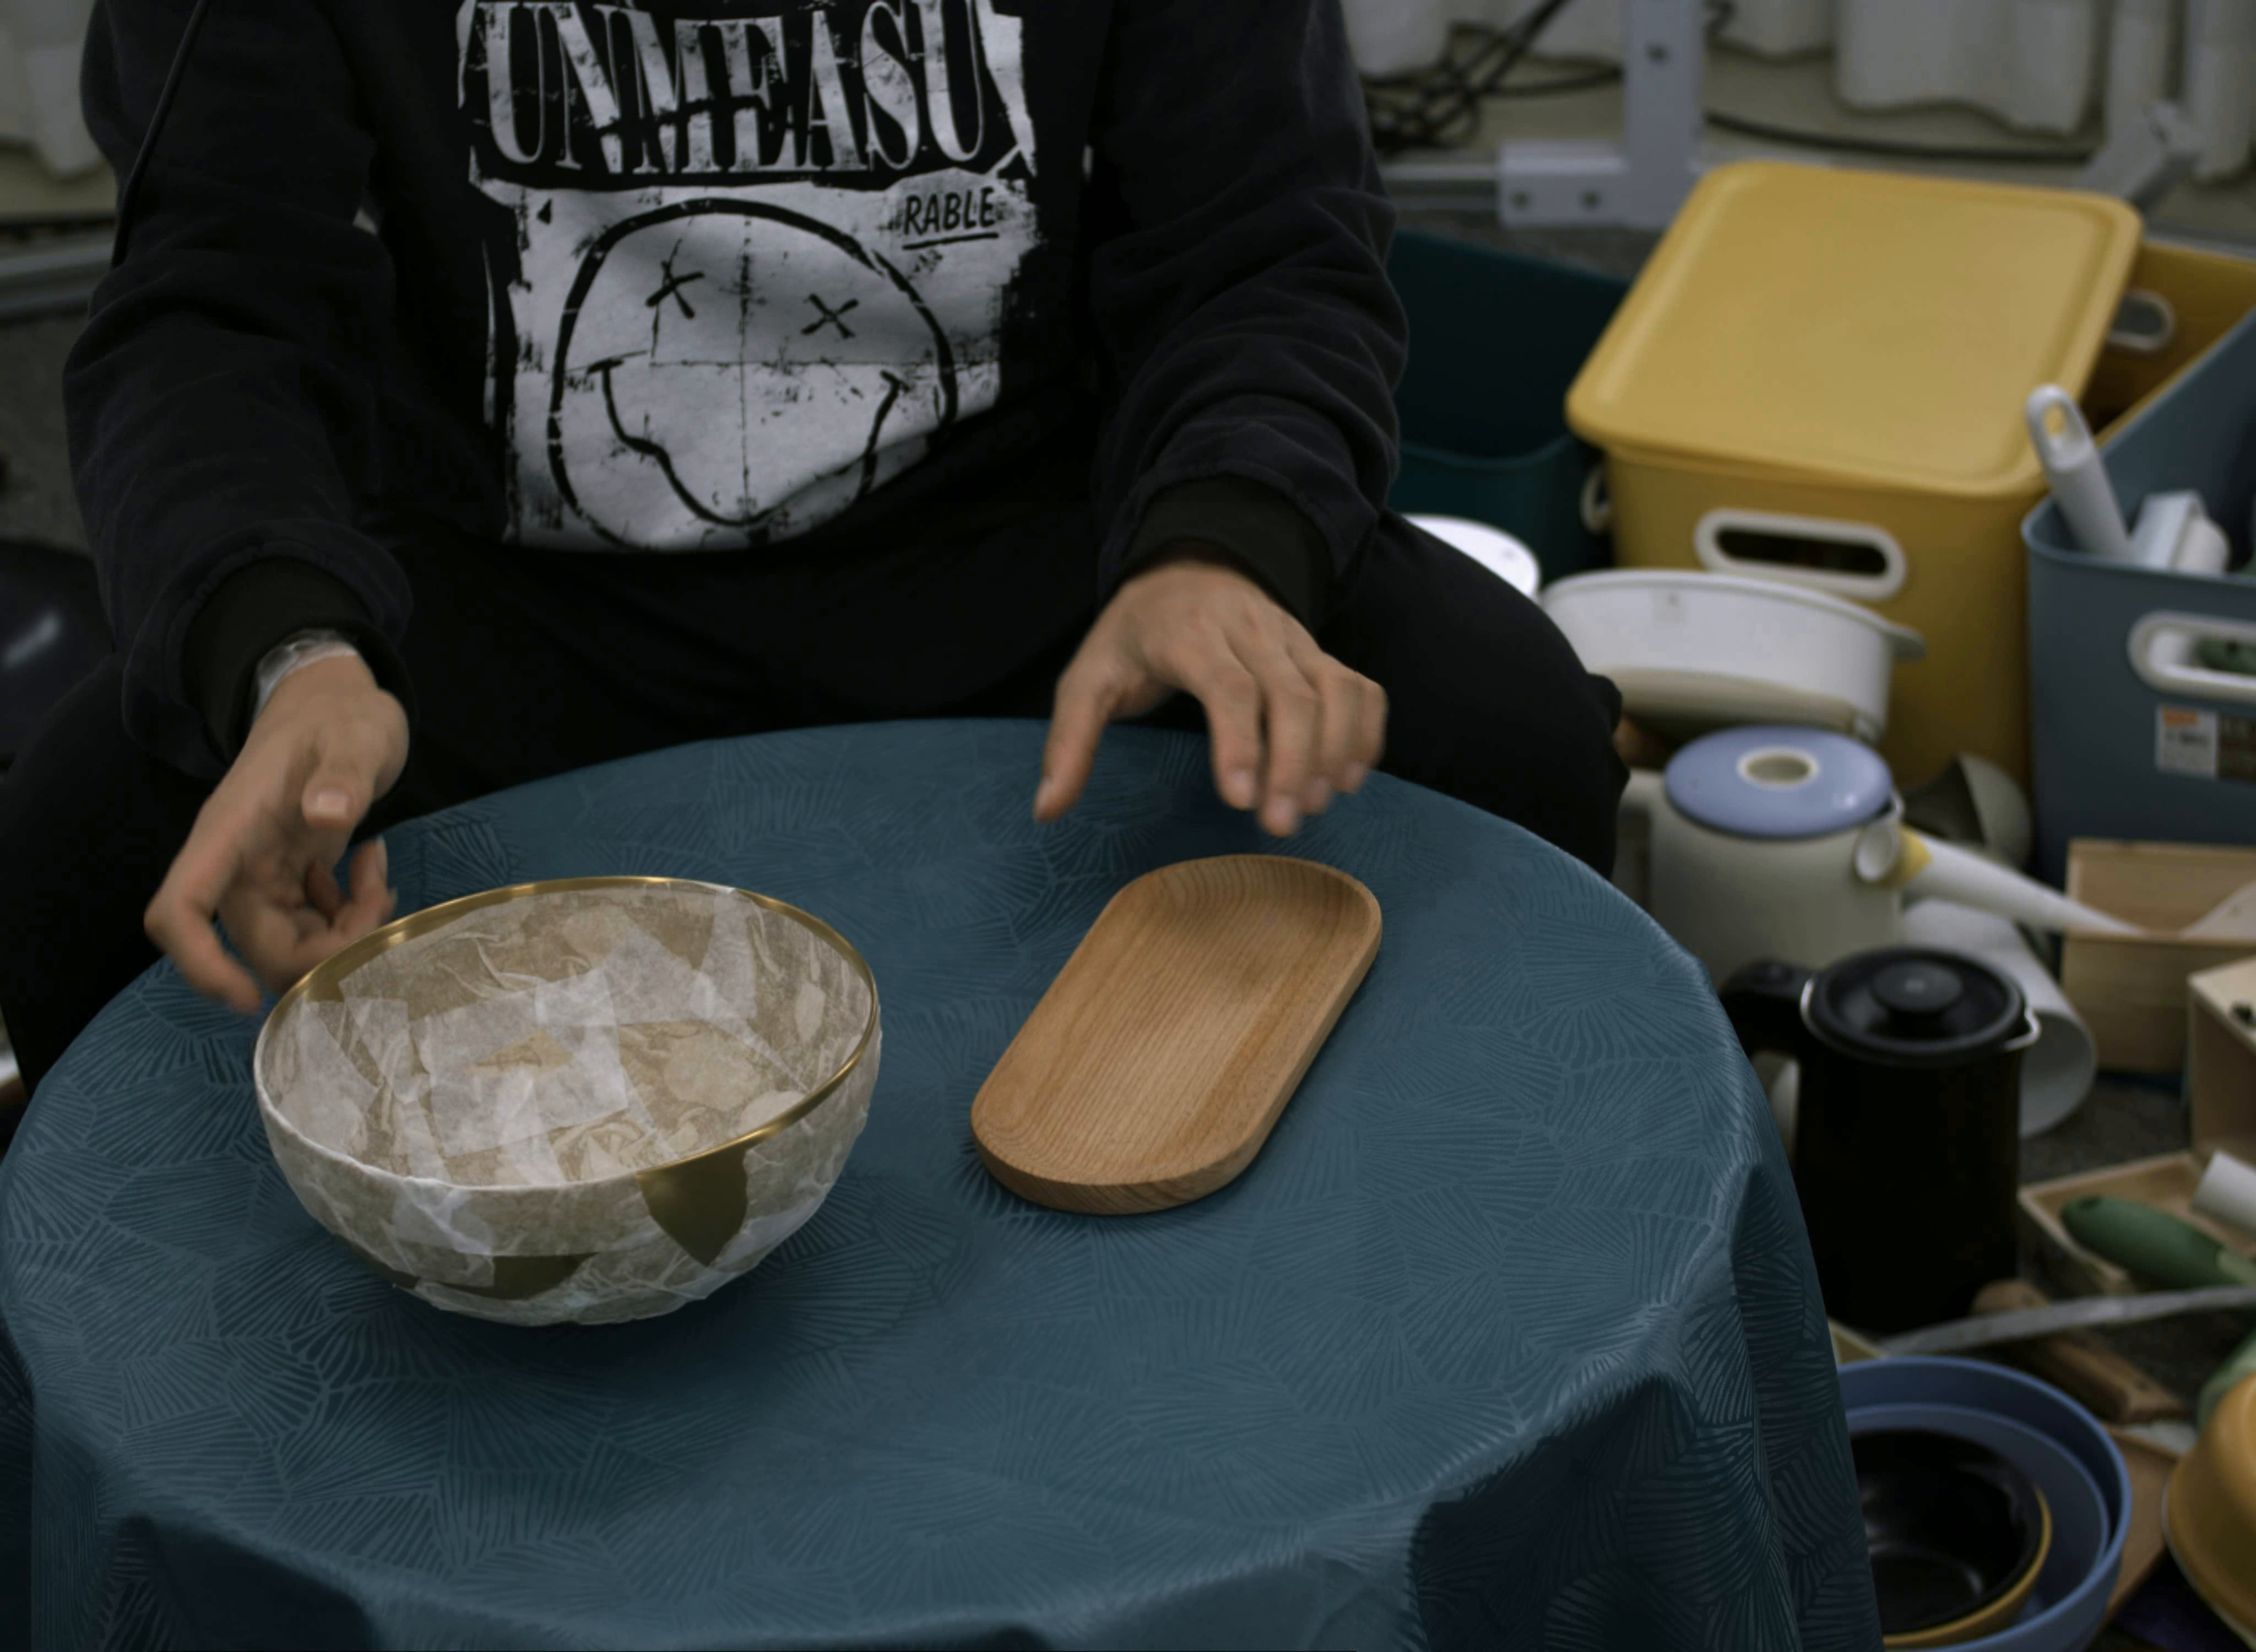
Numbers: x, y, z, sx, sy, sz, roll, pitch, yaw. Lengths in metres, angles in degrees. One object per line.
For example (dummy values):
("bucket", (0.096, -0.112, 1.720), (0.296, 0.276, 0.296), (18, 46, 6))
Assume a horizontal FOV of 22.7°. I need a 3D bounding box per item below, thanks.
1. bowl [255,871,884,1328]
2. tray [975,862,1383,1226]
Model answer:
("bowl", (-0.172, 0.100, 1.818), (0.213, 0.093, 0.218), (-4, 27, 2))
("tray", (0.020, 0.073, 1.937), (0.101, 0.020, 0.235), (4, 30, 18))
